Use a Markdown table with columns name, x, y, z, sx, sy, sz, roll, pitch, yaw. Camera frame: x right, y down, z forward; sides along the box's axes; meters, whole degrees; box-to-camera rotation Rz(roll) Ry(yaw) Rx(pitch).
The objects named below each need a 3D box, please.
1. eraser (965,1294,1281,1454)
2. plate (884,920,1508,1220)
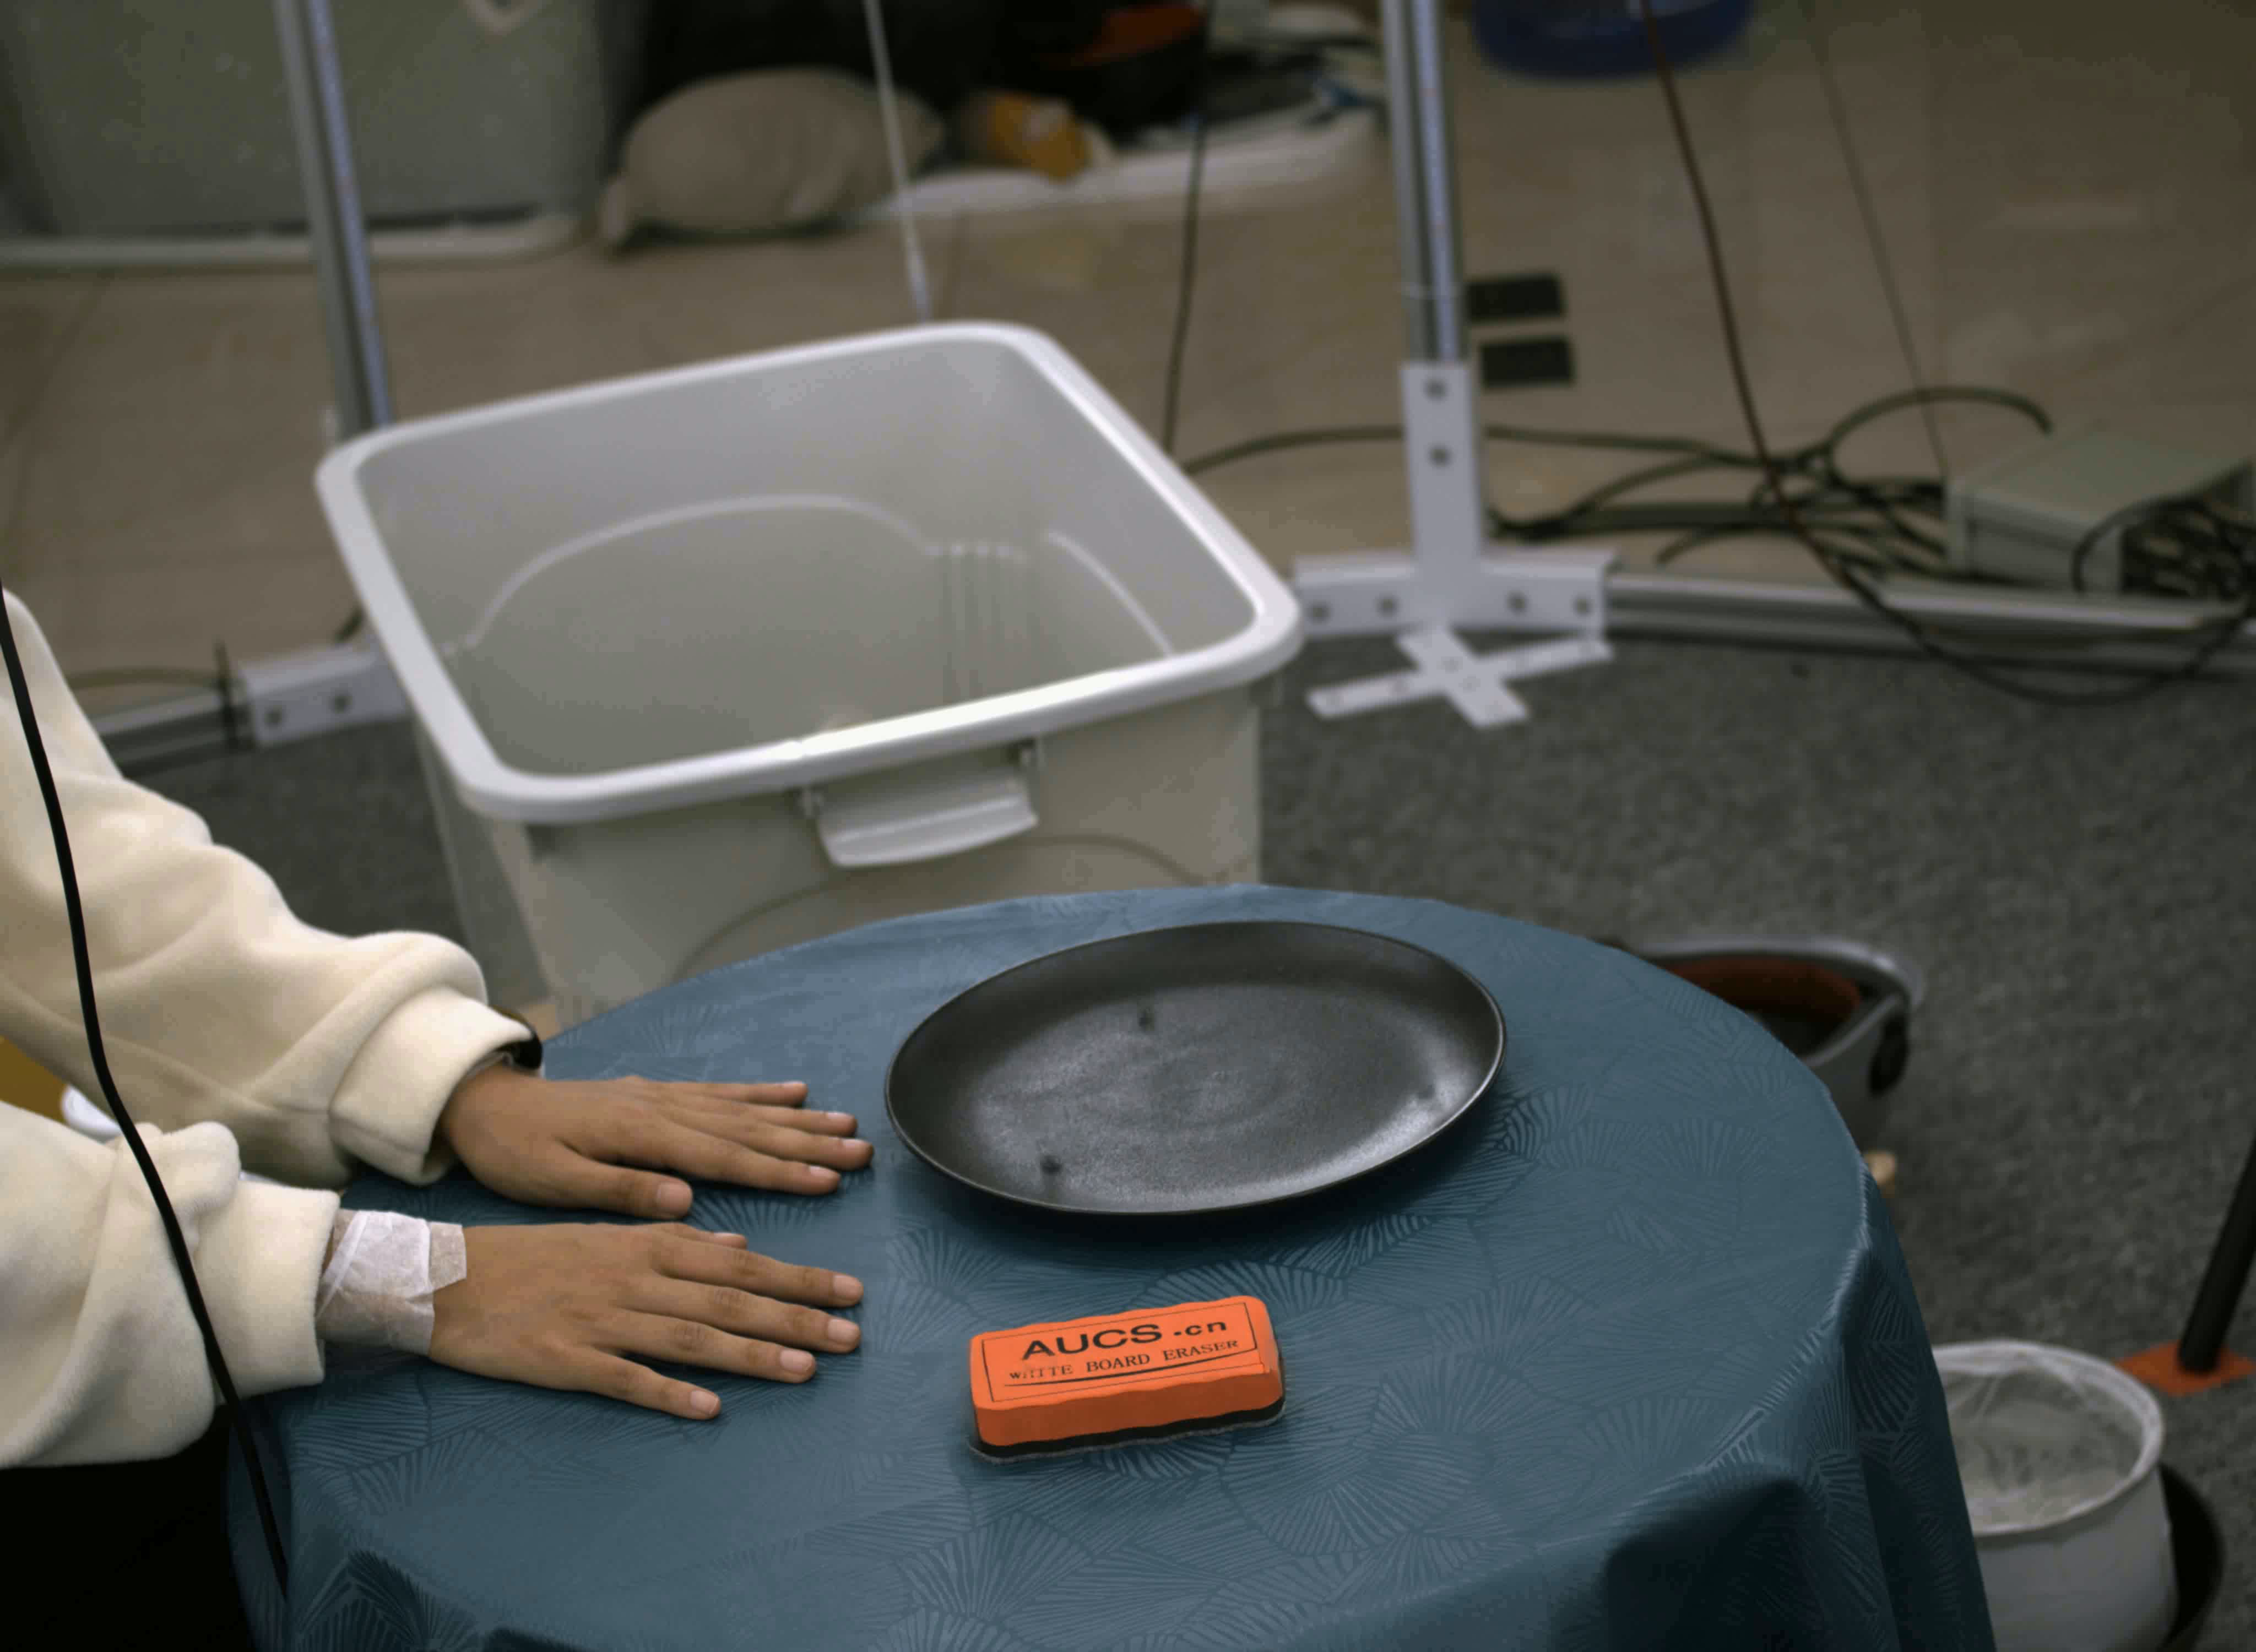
| name | x | y | z | sx | sy | sz | roll | pitch | yaw |
| --- | --- | --- | --- | --- | --- | --- | --- | --- | --- |
| eraser | -0.002 | 0.193 | 1.999 | 0.108 | 0.023 | 0.058 | -6 | 26 | -4 |
| plate | 0.027 | 0.100 | 2.199 | 0.244 | 0.024 | 0.241 | -6 | 25 | 3 |
